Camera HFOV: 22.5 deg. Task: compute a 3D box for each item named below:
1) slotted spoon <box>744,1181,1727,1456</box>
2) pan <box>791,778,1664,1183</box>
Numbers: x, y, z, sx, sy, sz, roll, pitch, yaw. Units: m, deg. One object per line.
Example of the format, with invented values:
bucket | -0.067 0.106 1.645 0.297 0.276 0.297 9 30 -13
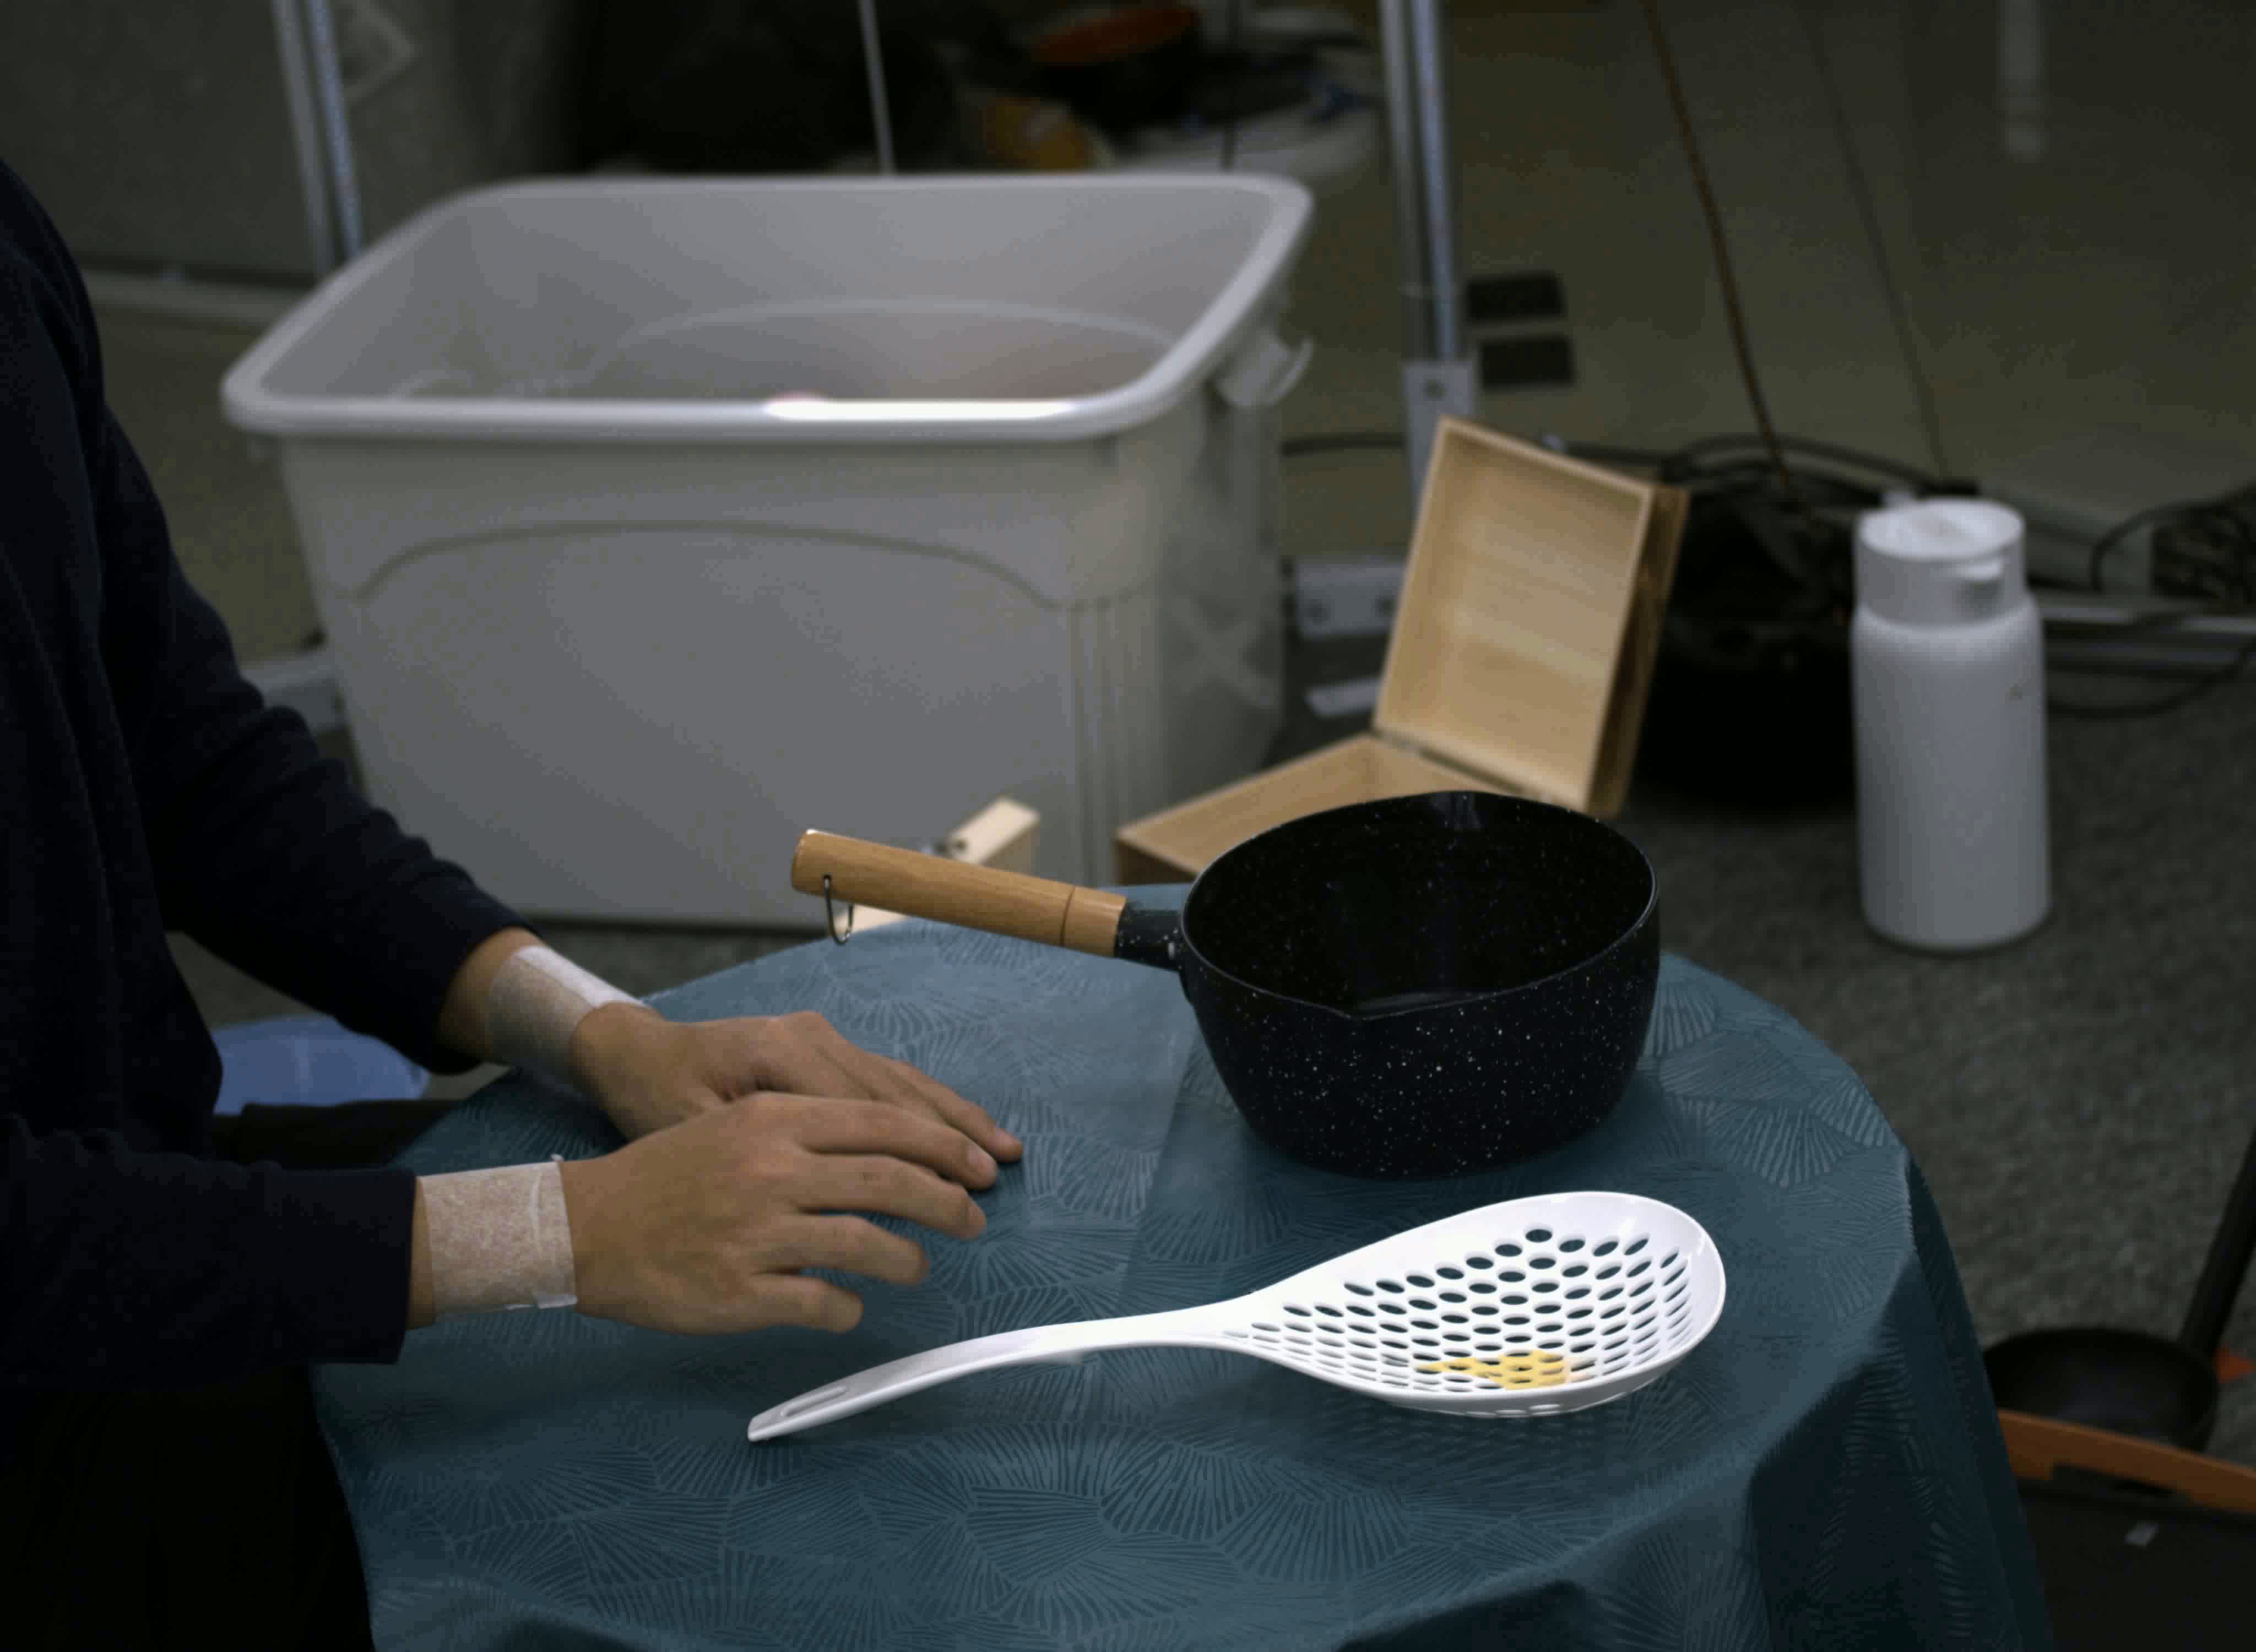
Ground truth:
slotted spoon | 0.036 0.185 1.989 0.347 0.051 0.135 -3 27 3
pan | 0.037 0.054 2.191 0.342 0.110 0.204 1 27 13
